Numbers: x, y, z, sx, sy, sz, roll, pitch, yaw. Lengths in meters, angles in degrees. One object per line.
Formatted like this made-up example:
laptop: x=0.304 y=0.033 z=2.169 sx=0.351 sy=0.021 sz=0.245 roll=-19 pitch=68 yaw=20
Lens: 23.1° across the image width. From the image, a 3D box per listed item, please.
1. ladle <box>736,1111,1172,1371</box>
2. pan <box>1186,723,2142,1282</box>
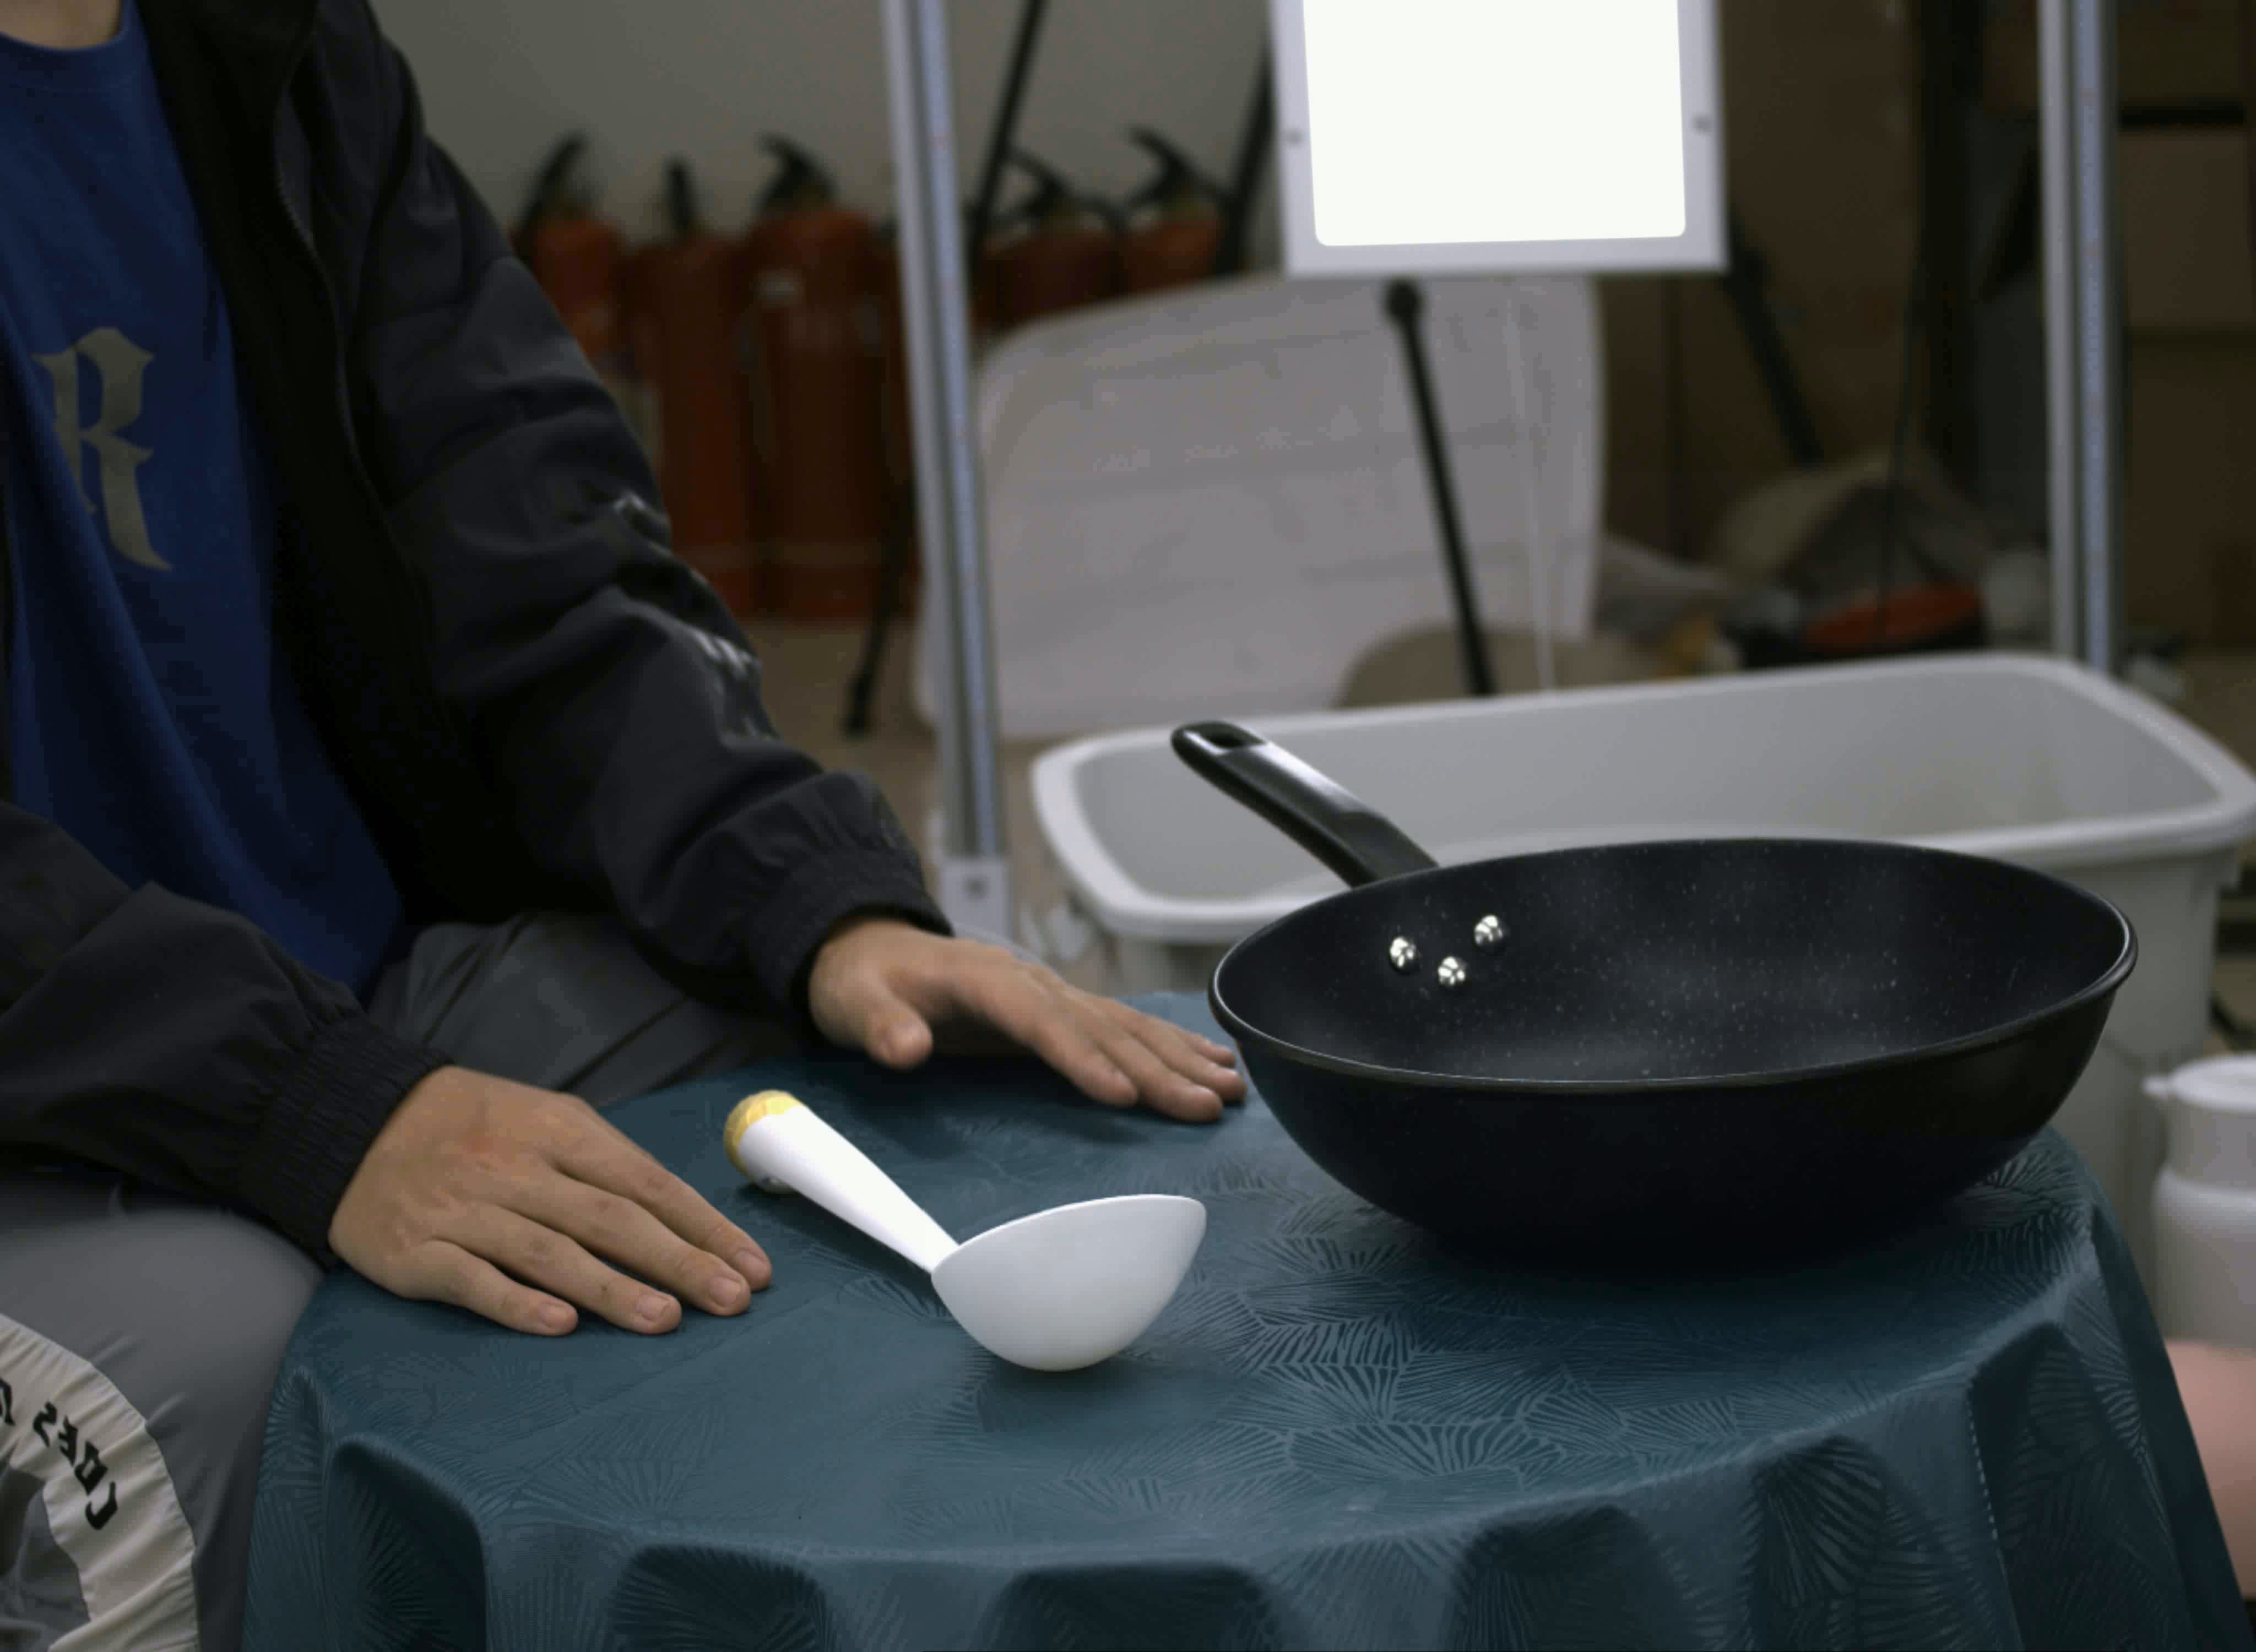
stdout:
ladle: x=-0.071 y=0.121 z=1.813 sx=0.088 sy=0.070 sz=0.297 roll=-13 pitch=14 yaw=-20
pan: x=0.146 y=0.059 z=1.897 sx=0.303 sy=0.112 sz=0.485 roll=-10 pitch=15 yaw=-26
